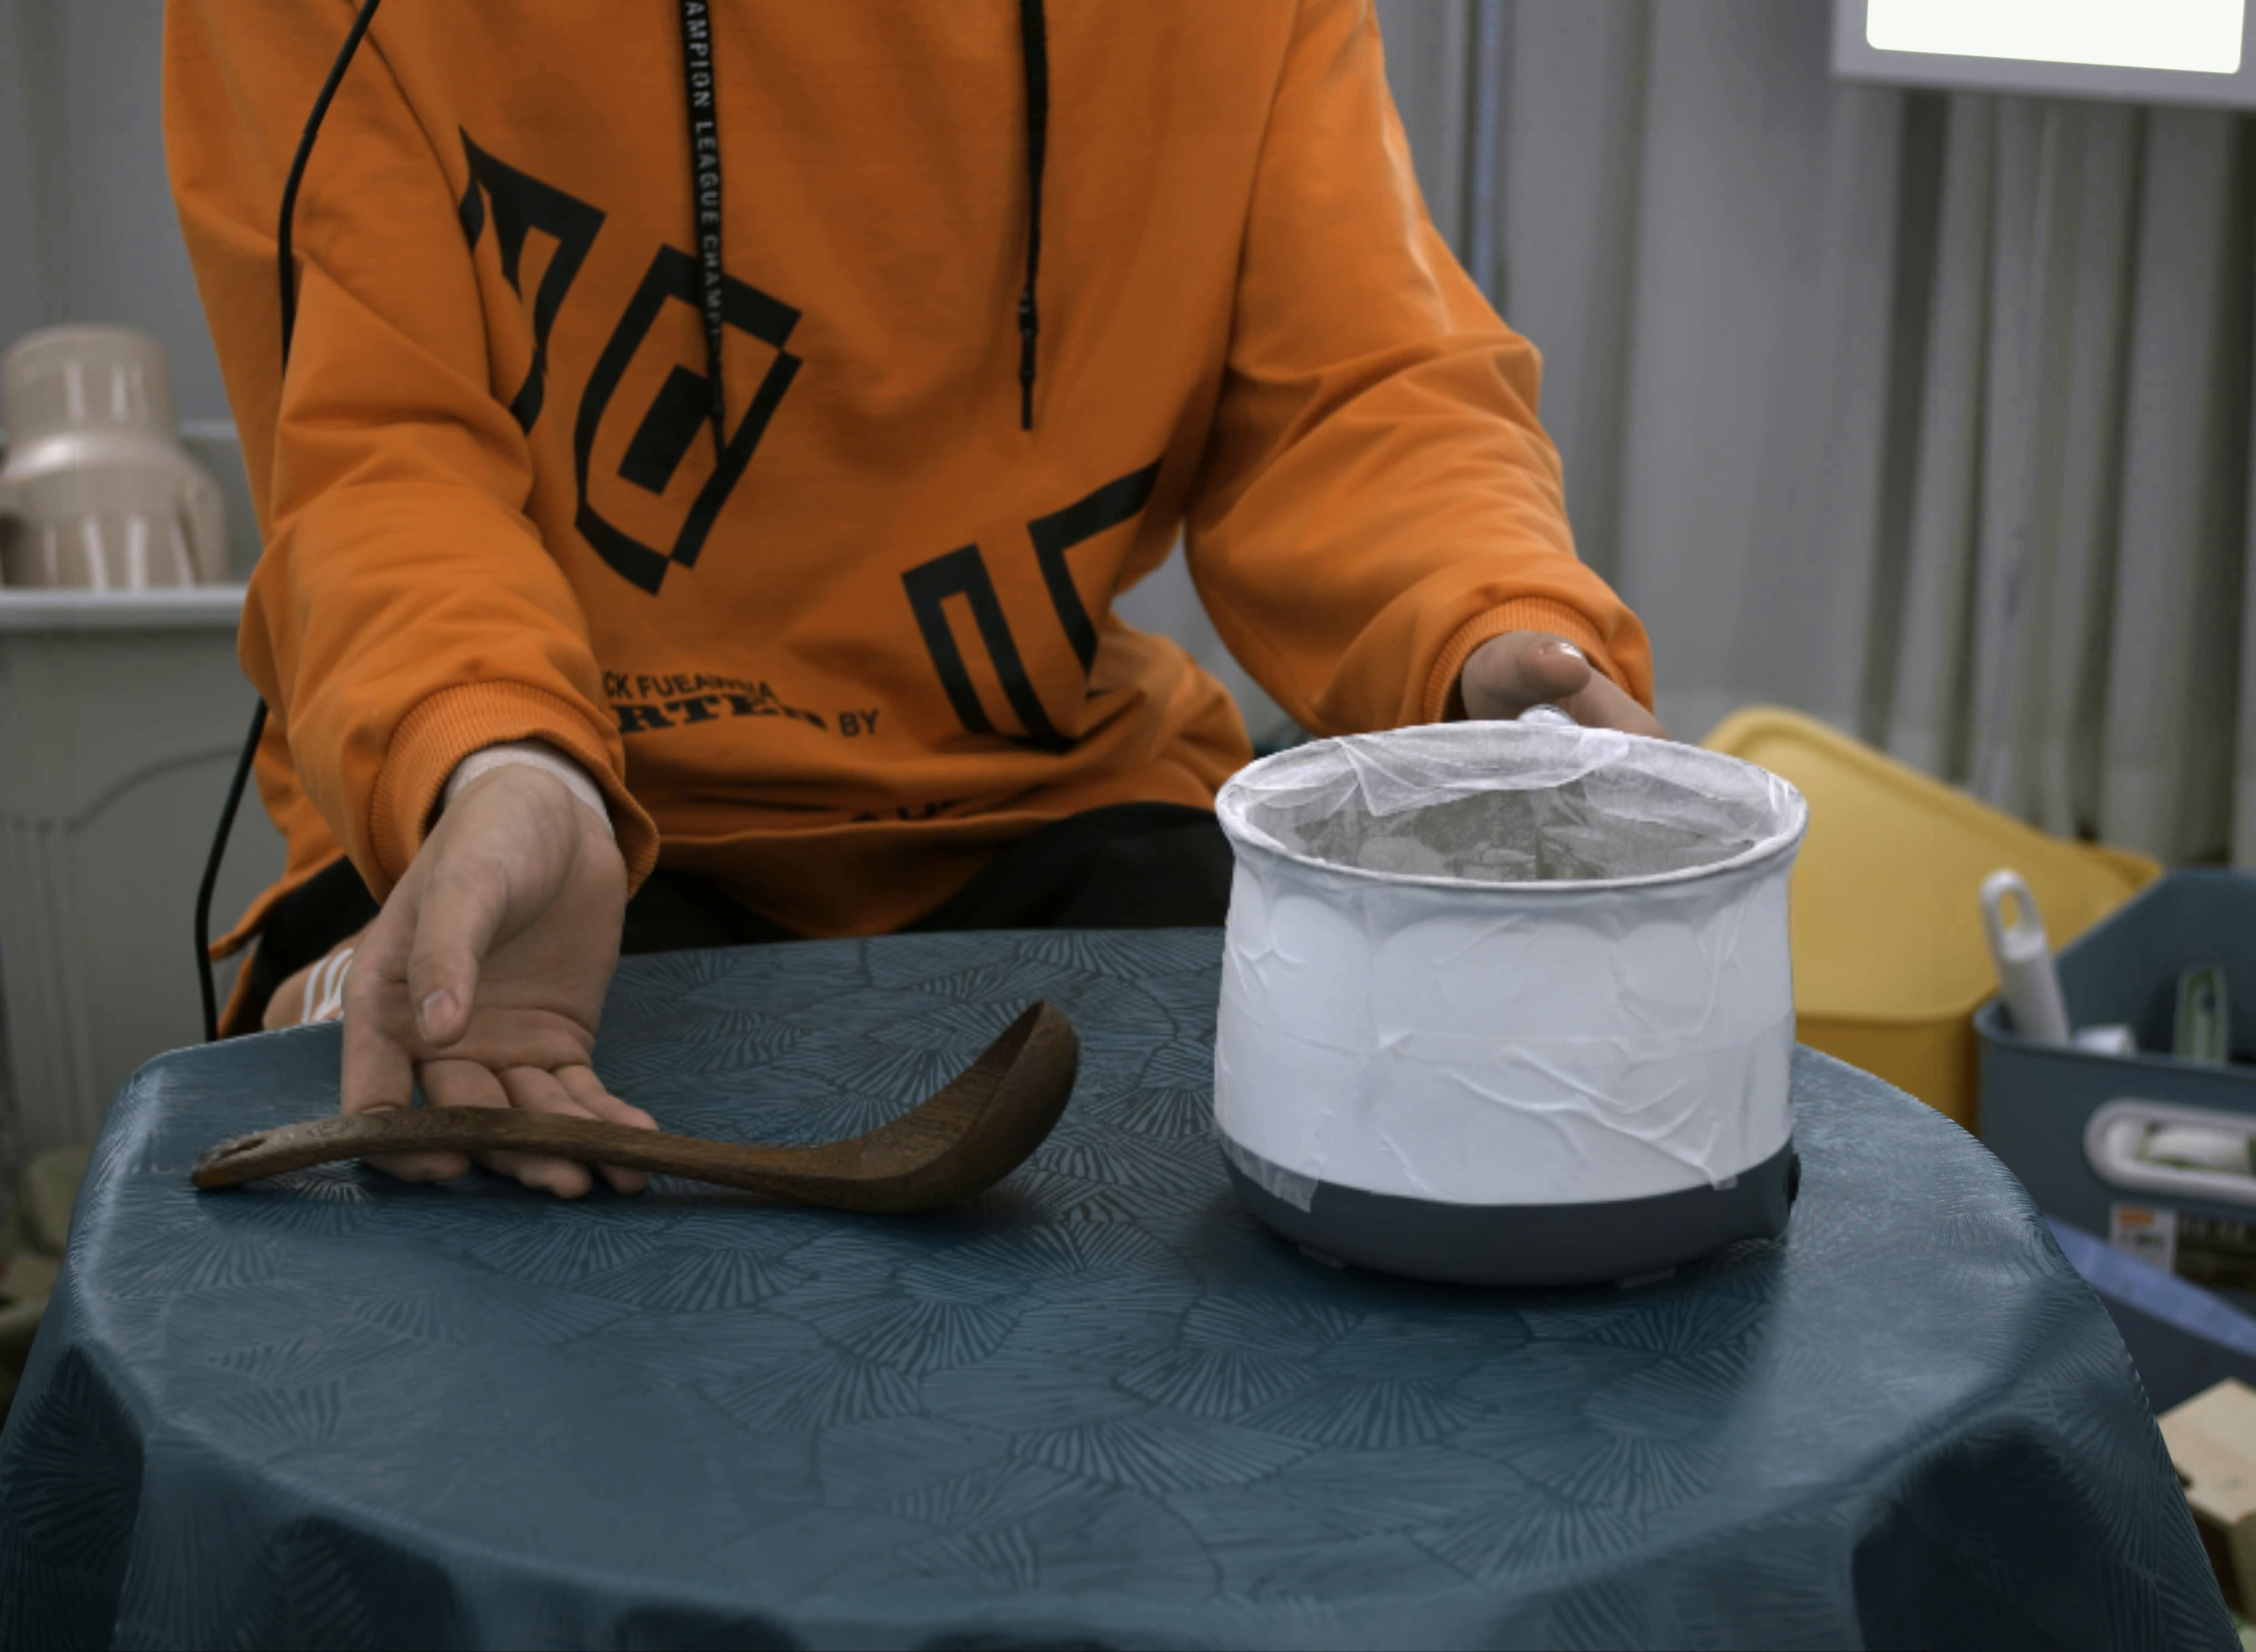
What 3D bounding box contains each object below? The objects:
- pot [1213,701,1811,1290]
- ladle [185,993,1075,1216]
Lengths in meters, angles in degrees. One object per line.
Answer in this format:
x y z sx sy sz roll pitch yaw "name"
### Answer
0.118 0.046 1.608 0.177 0.138 0.233 3 16 8 "pot"
-0.152 0.080 1.602 0.273 0.072 0.076 2 13 4 "ladle"
